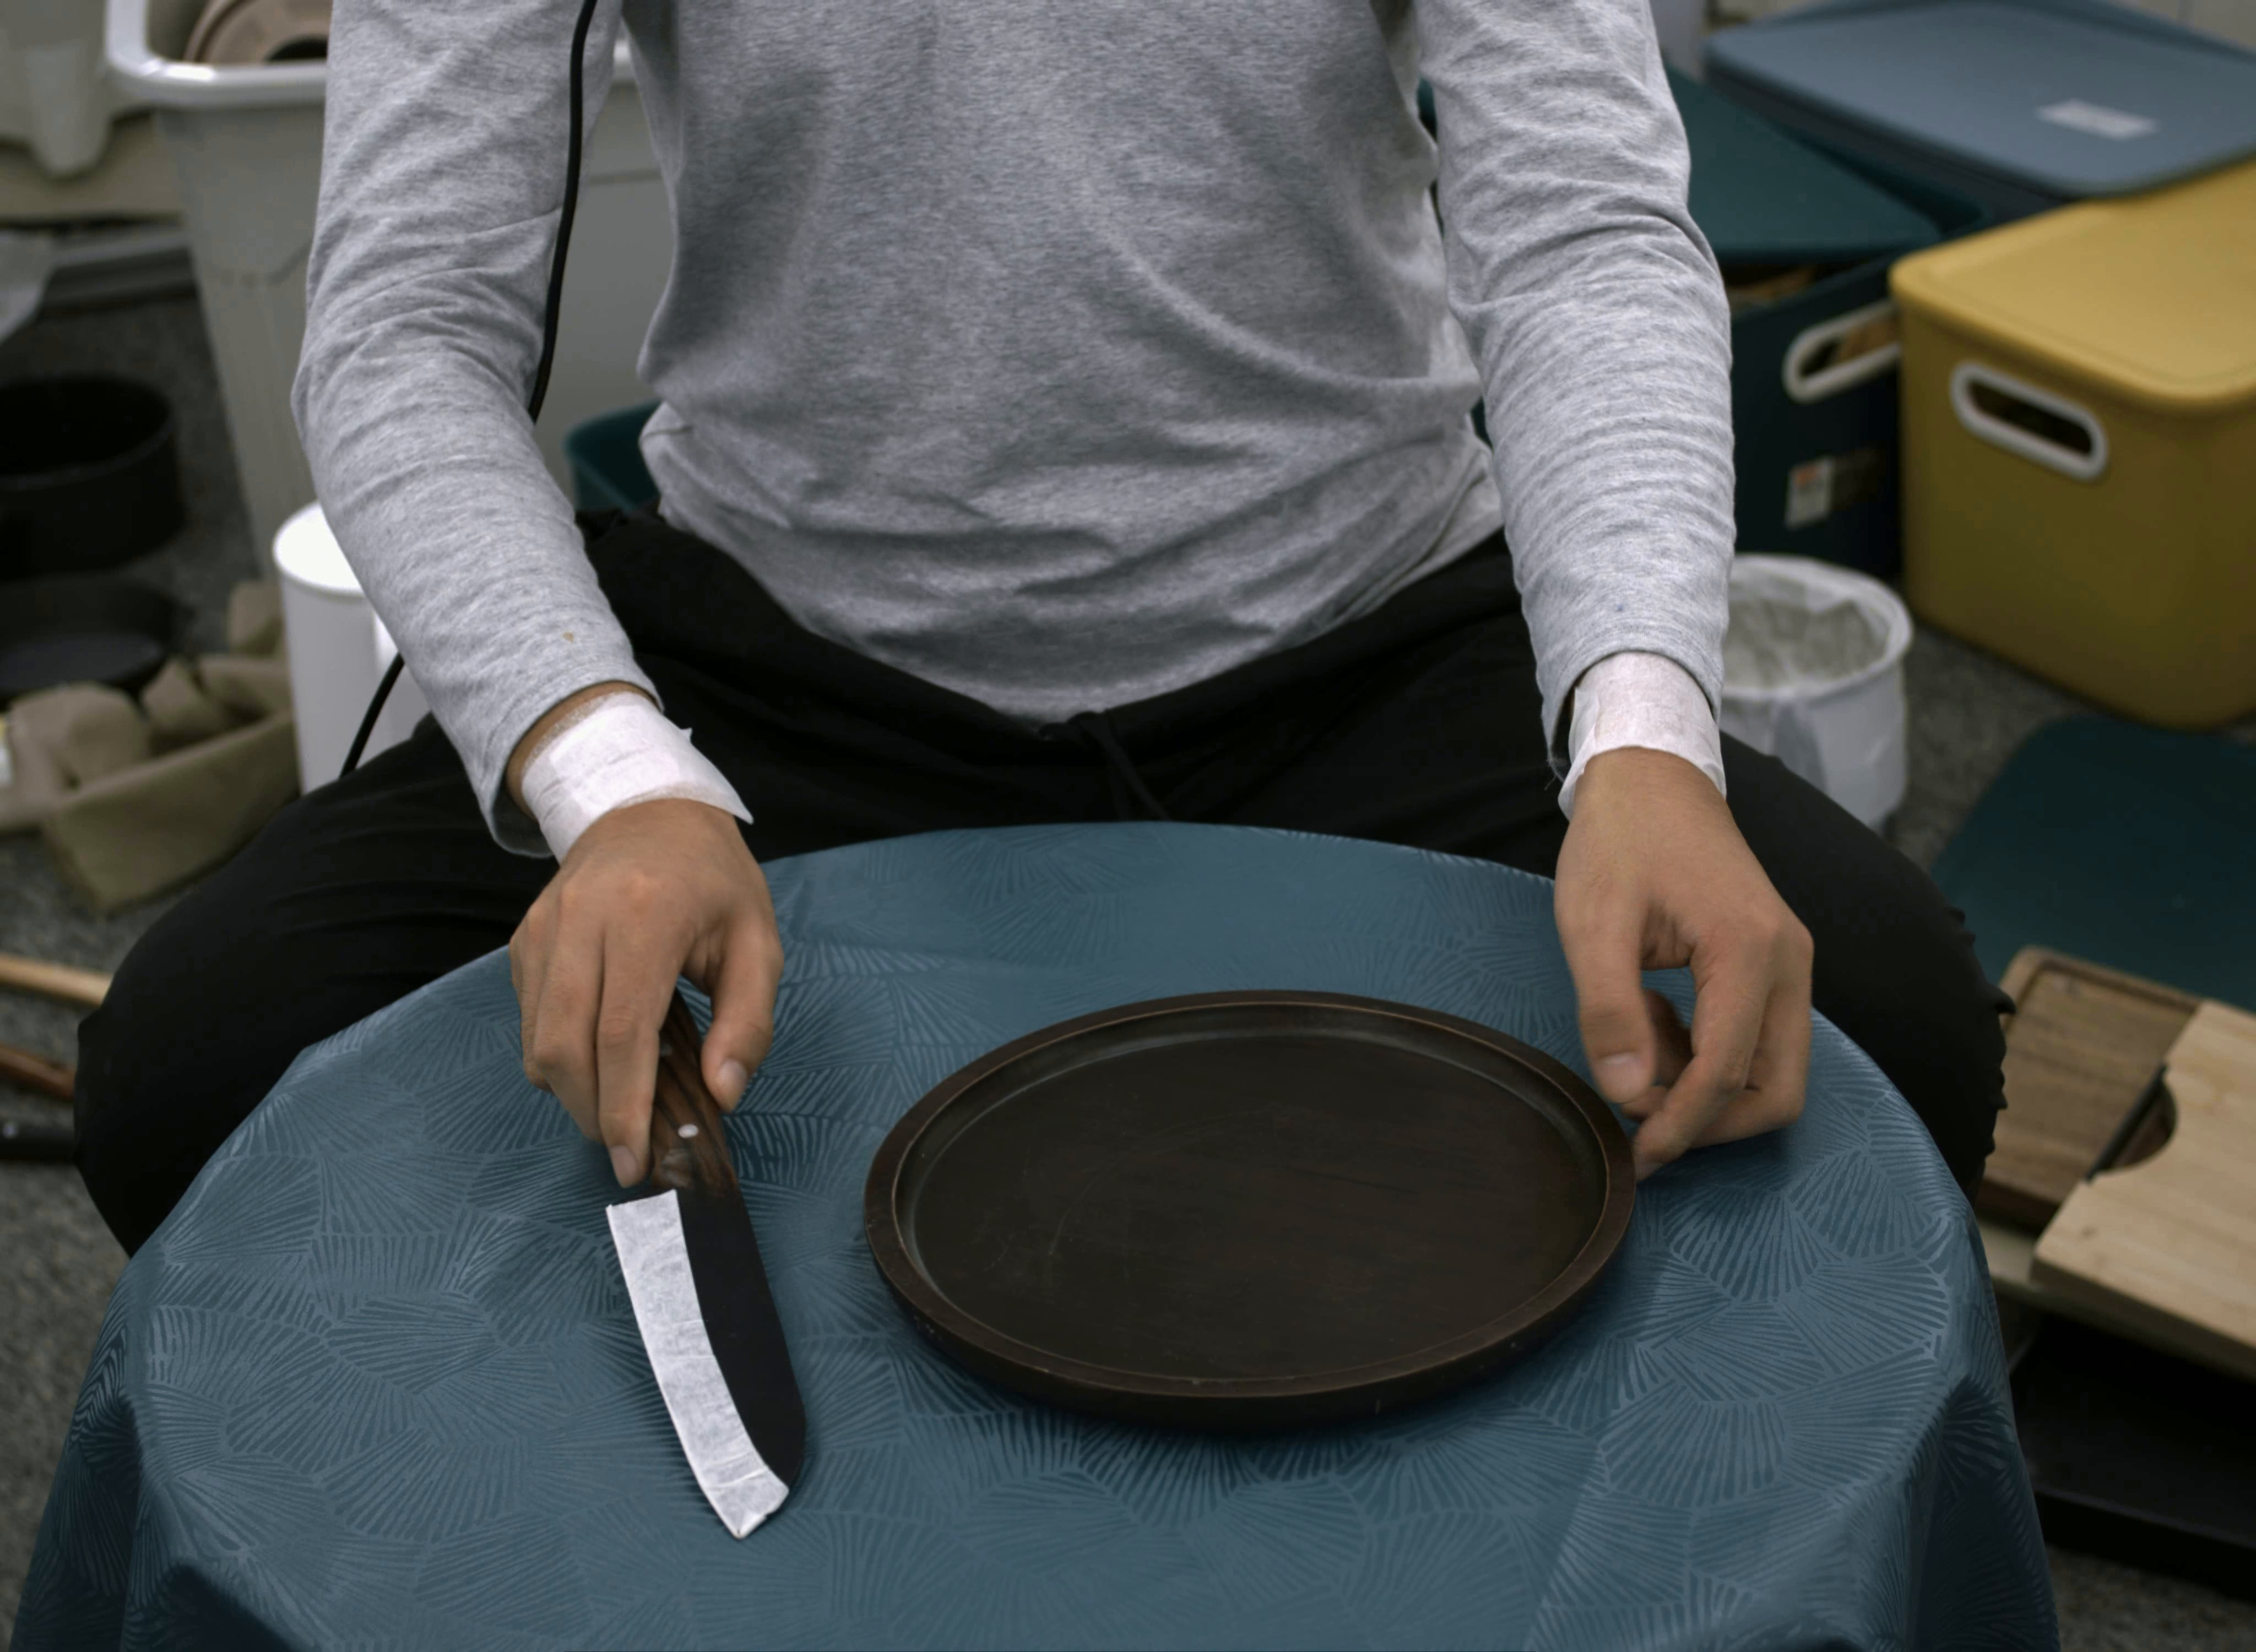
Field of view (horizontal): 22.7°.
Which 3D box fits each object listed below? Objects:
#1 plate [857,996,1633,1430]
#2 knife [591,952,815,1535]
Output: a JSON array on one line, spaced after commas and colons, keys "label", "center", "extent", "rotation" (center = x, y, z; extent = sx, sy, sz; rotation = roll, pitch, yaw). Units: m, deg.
[{"label": "plate", "center": [0.038, 0.123, 1.828], "extent": [0.253, 0.029, 0.258], "rotation": [-4, 26, 2]}, {"label": "knife", "center": [-0.142, 0.132, 1.808], "extent": [0.050, 0.020, 0.293], "rotation": [-14, 36, -4]}]
